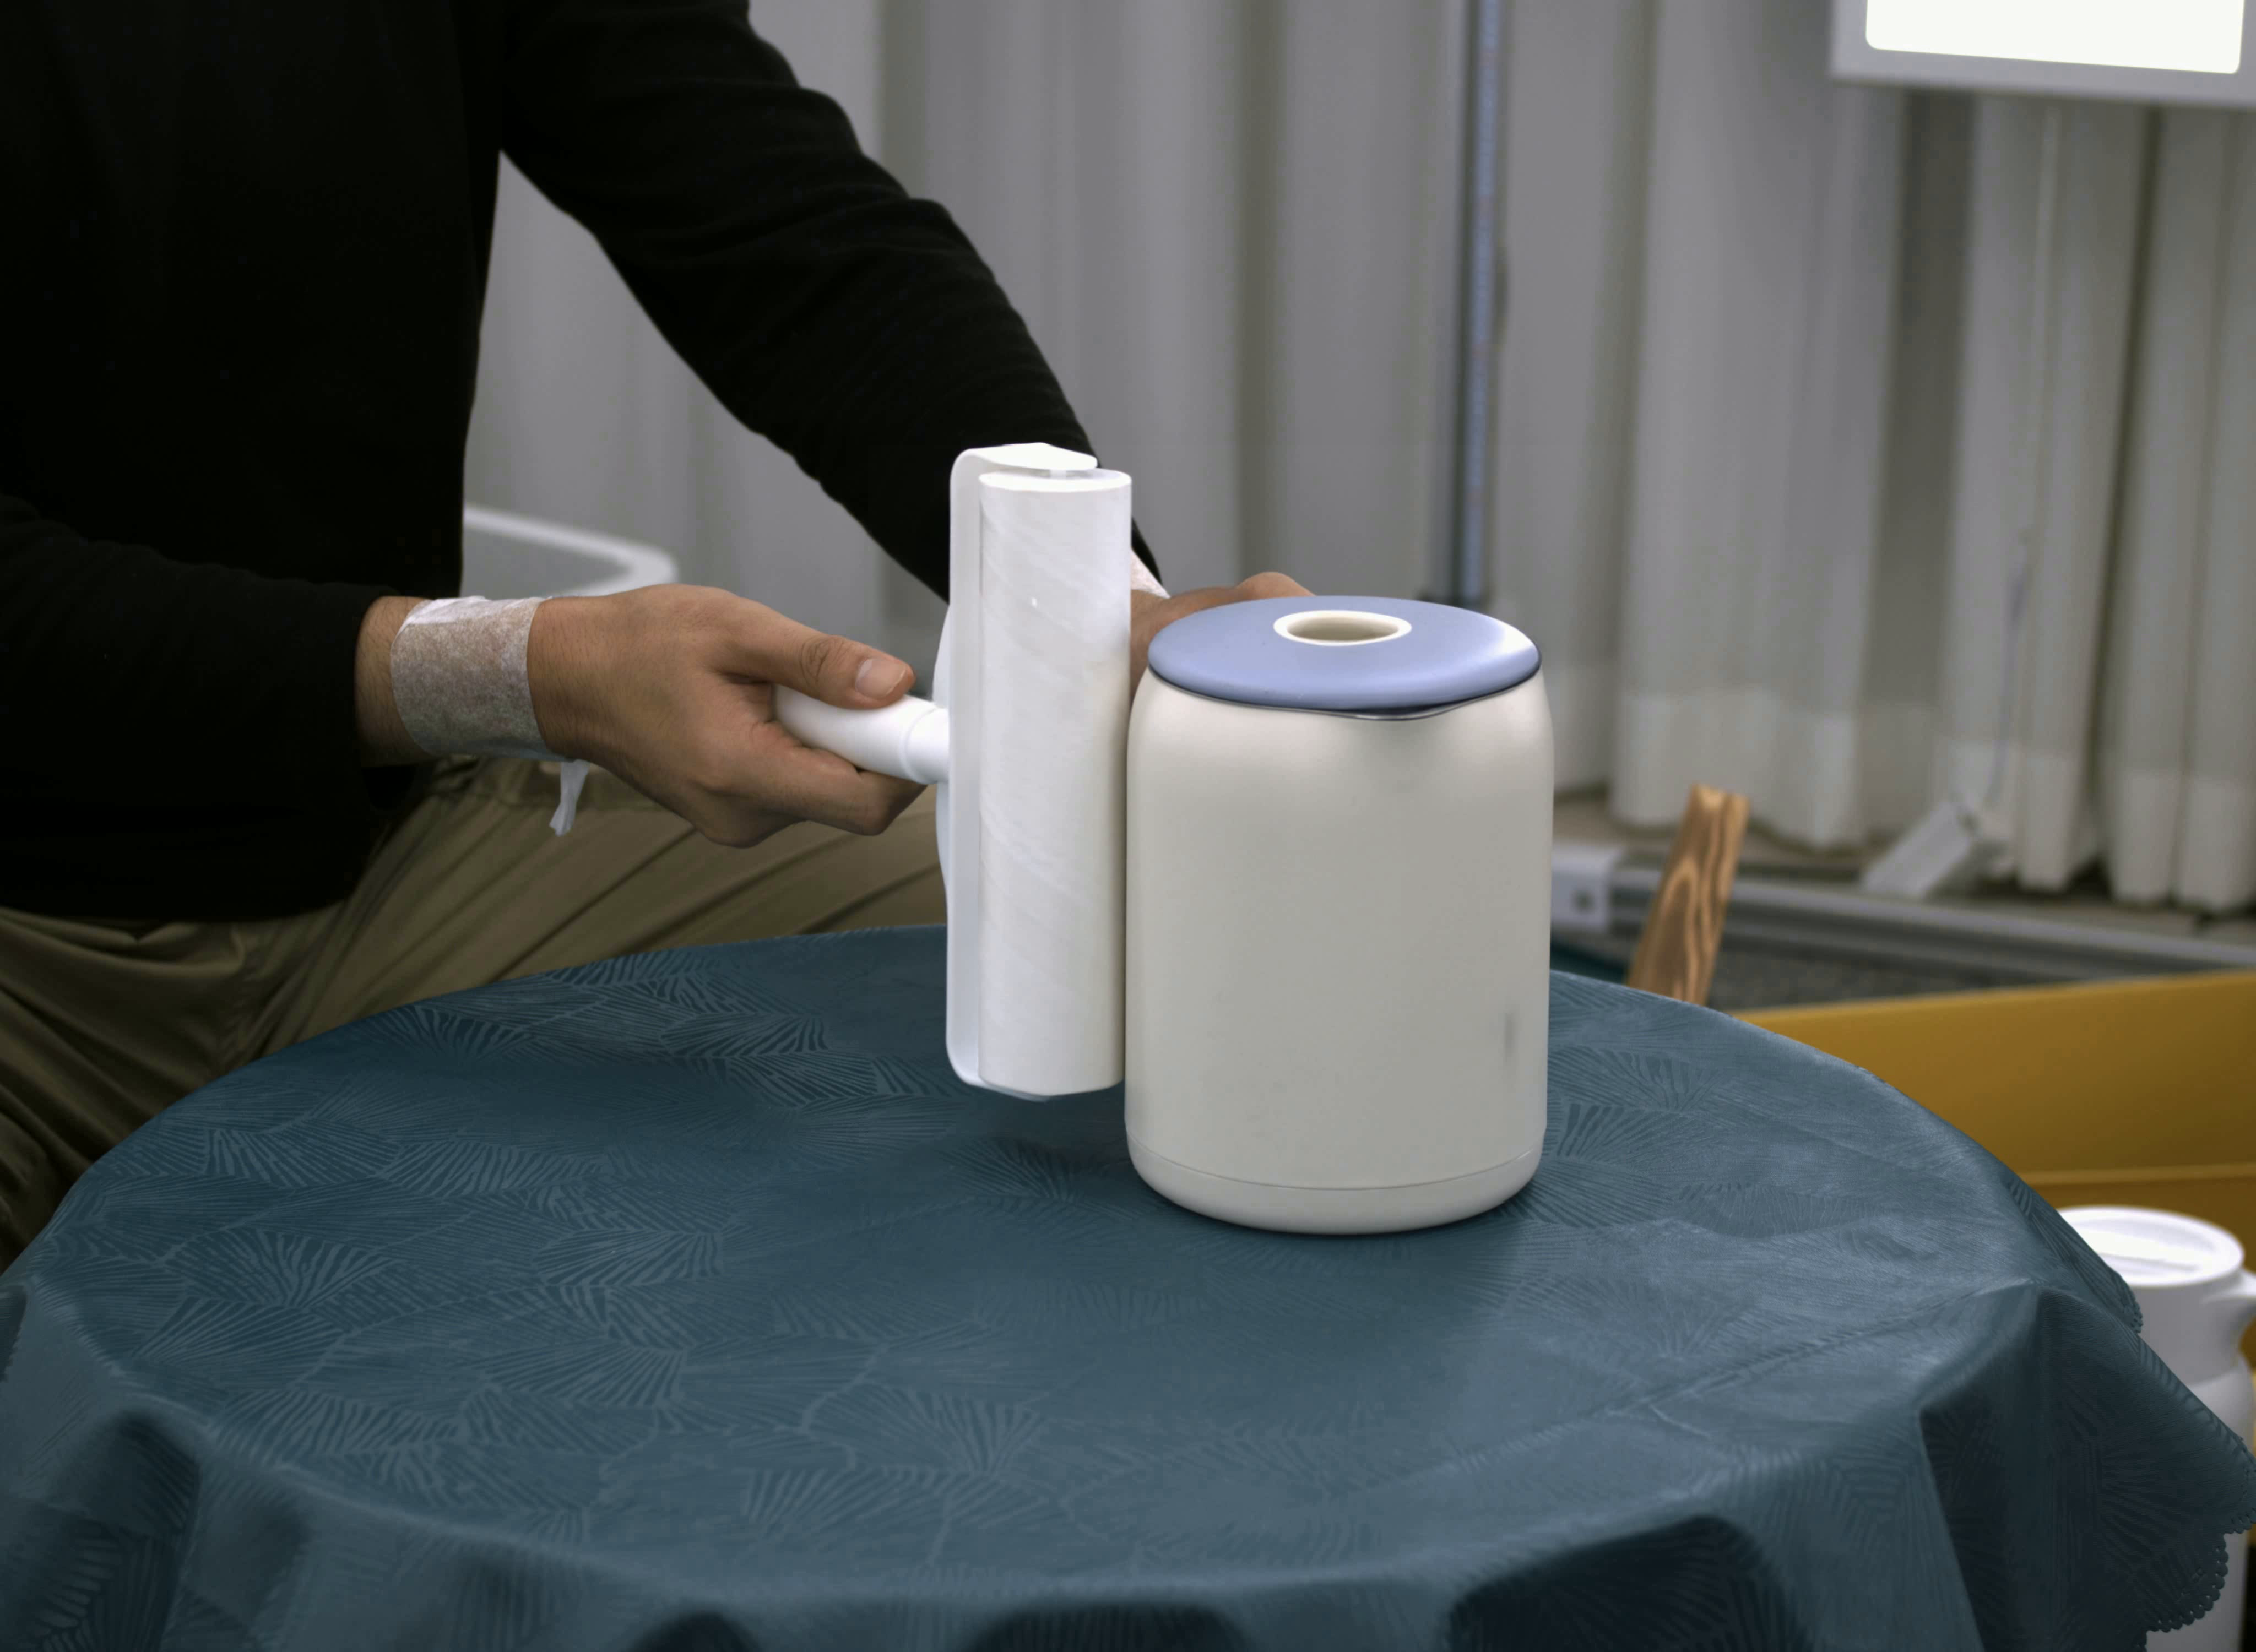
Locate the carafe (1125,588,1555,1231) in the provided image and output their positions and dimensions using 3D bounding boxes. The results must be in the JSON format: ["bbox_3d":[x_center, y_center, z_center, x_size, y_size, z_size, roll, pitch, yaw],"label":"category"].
[{"bbox_3d":[0.058,0.019,1.637,0.132,0.184,0.189,-4,15,-15],"label":"carafe"}]

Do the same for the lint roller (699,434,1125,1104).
[{"bbox_3d":[-0.079,-0.029,1.681,0.048,0.204,0.222,-11,16,-37],"label":"lint roller"}]
